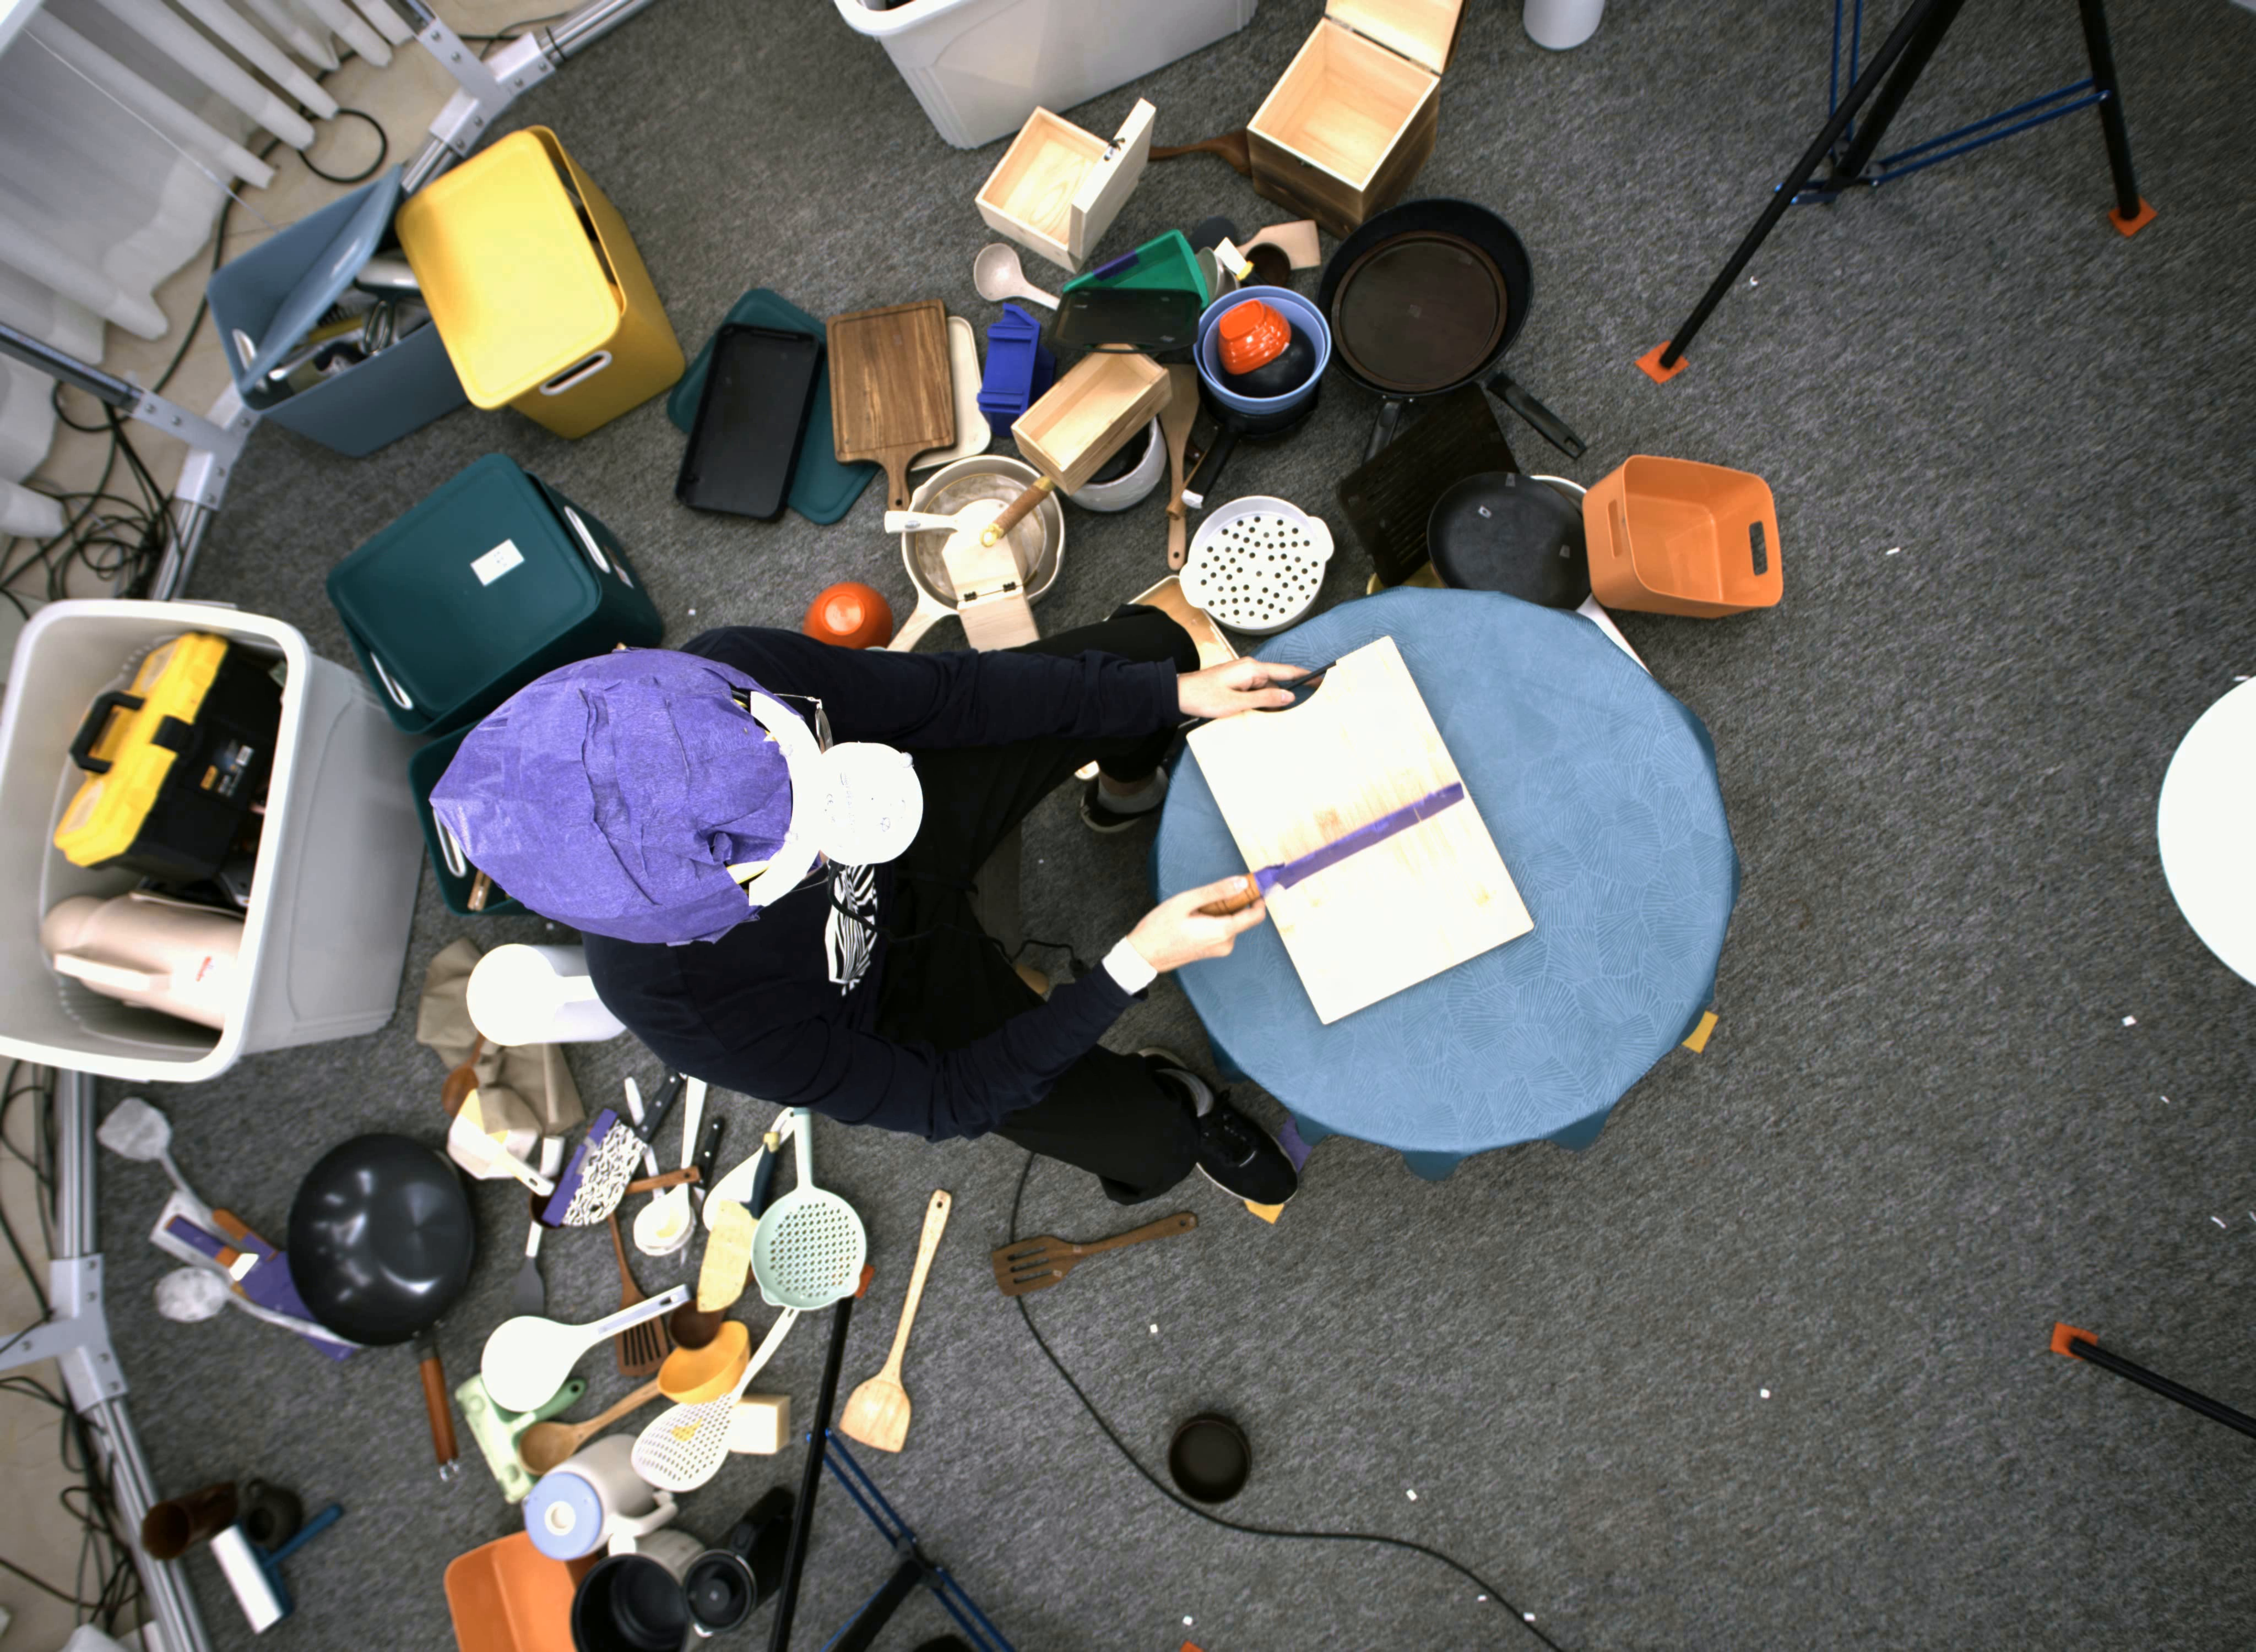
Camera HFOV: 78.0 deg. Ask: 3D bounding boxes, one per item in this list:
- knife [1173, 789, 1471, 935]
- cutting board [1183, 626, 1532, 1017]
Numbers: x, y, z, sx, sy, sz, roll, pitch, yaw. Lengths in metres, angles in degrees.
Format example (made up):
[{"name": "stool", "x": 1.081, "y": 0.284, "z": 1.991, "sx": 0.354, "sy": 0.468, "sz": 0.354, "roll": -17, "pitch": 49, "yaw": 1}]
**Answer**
[{"name": "knife", "x": 0.199, "y": 0.038, "z": 1.390, "sx": 0.318, "sy": 0.104, "sz": 0.032, "roll": -24, "pitch": 74, "yaw": 12}, {"name": "cutting board", "x": 0.238, "y": -0.003, "z": 1.449, "sx": 0.252, "sy": 0.023, "sz": 0.347, "roll": -26, "pitch": 87, "yaw": 8}]
